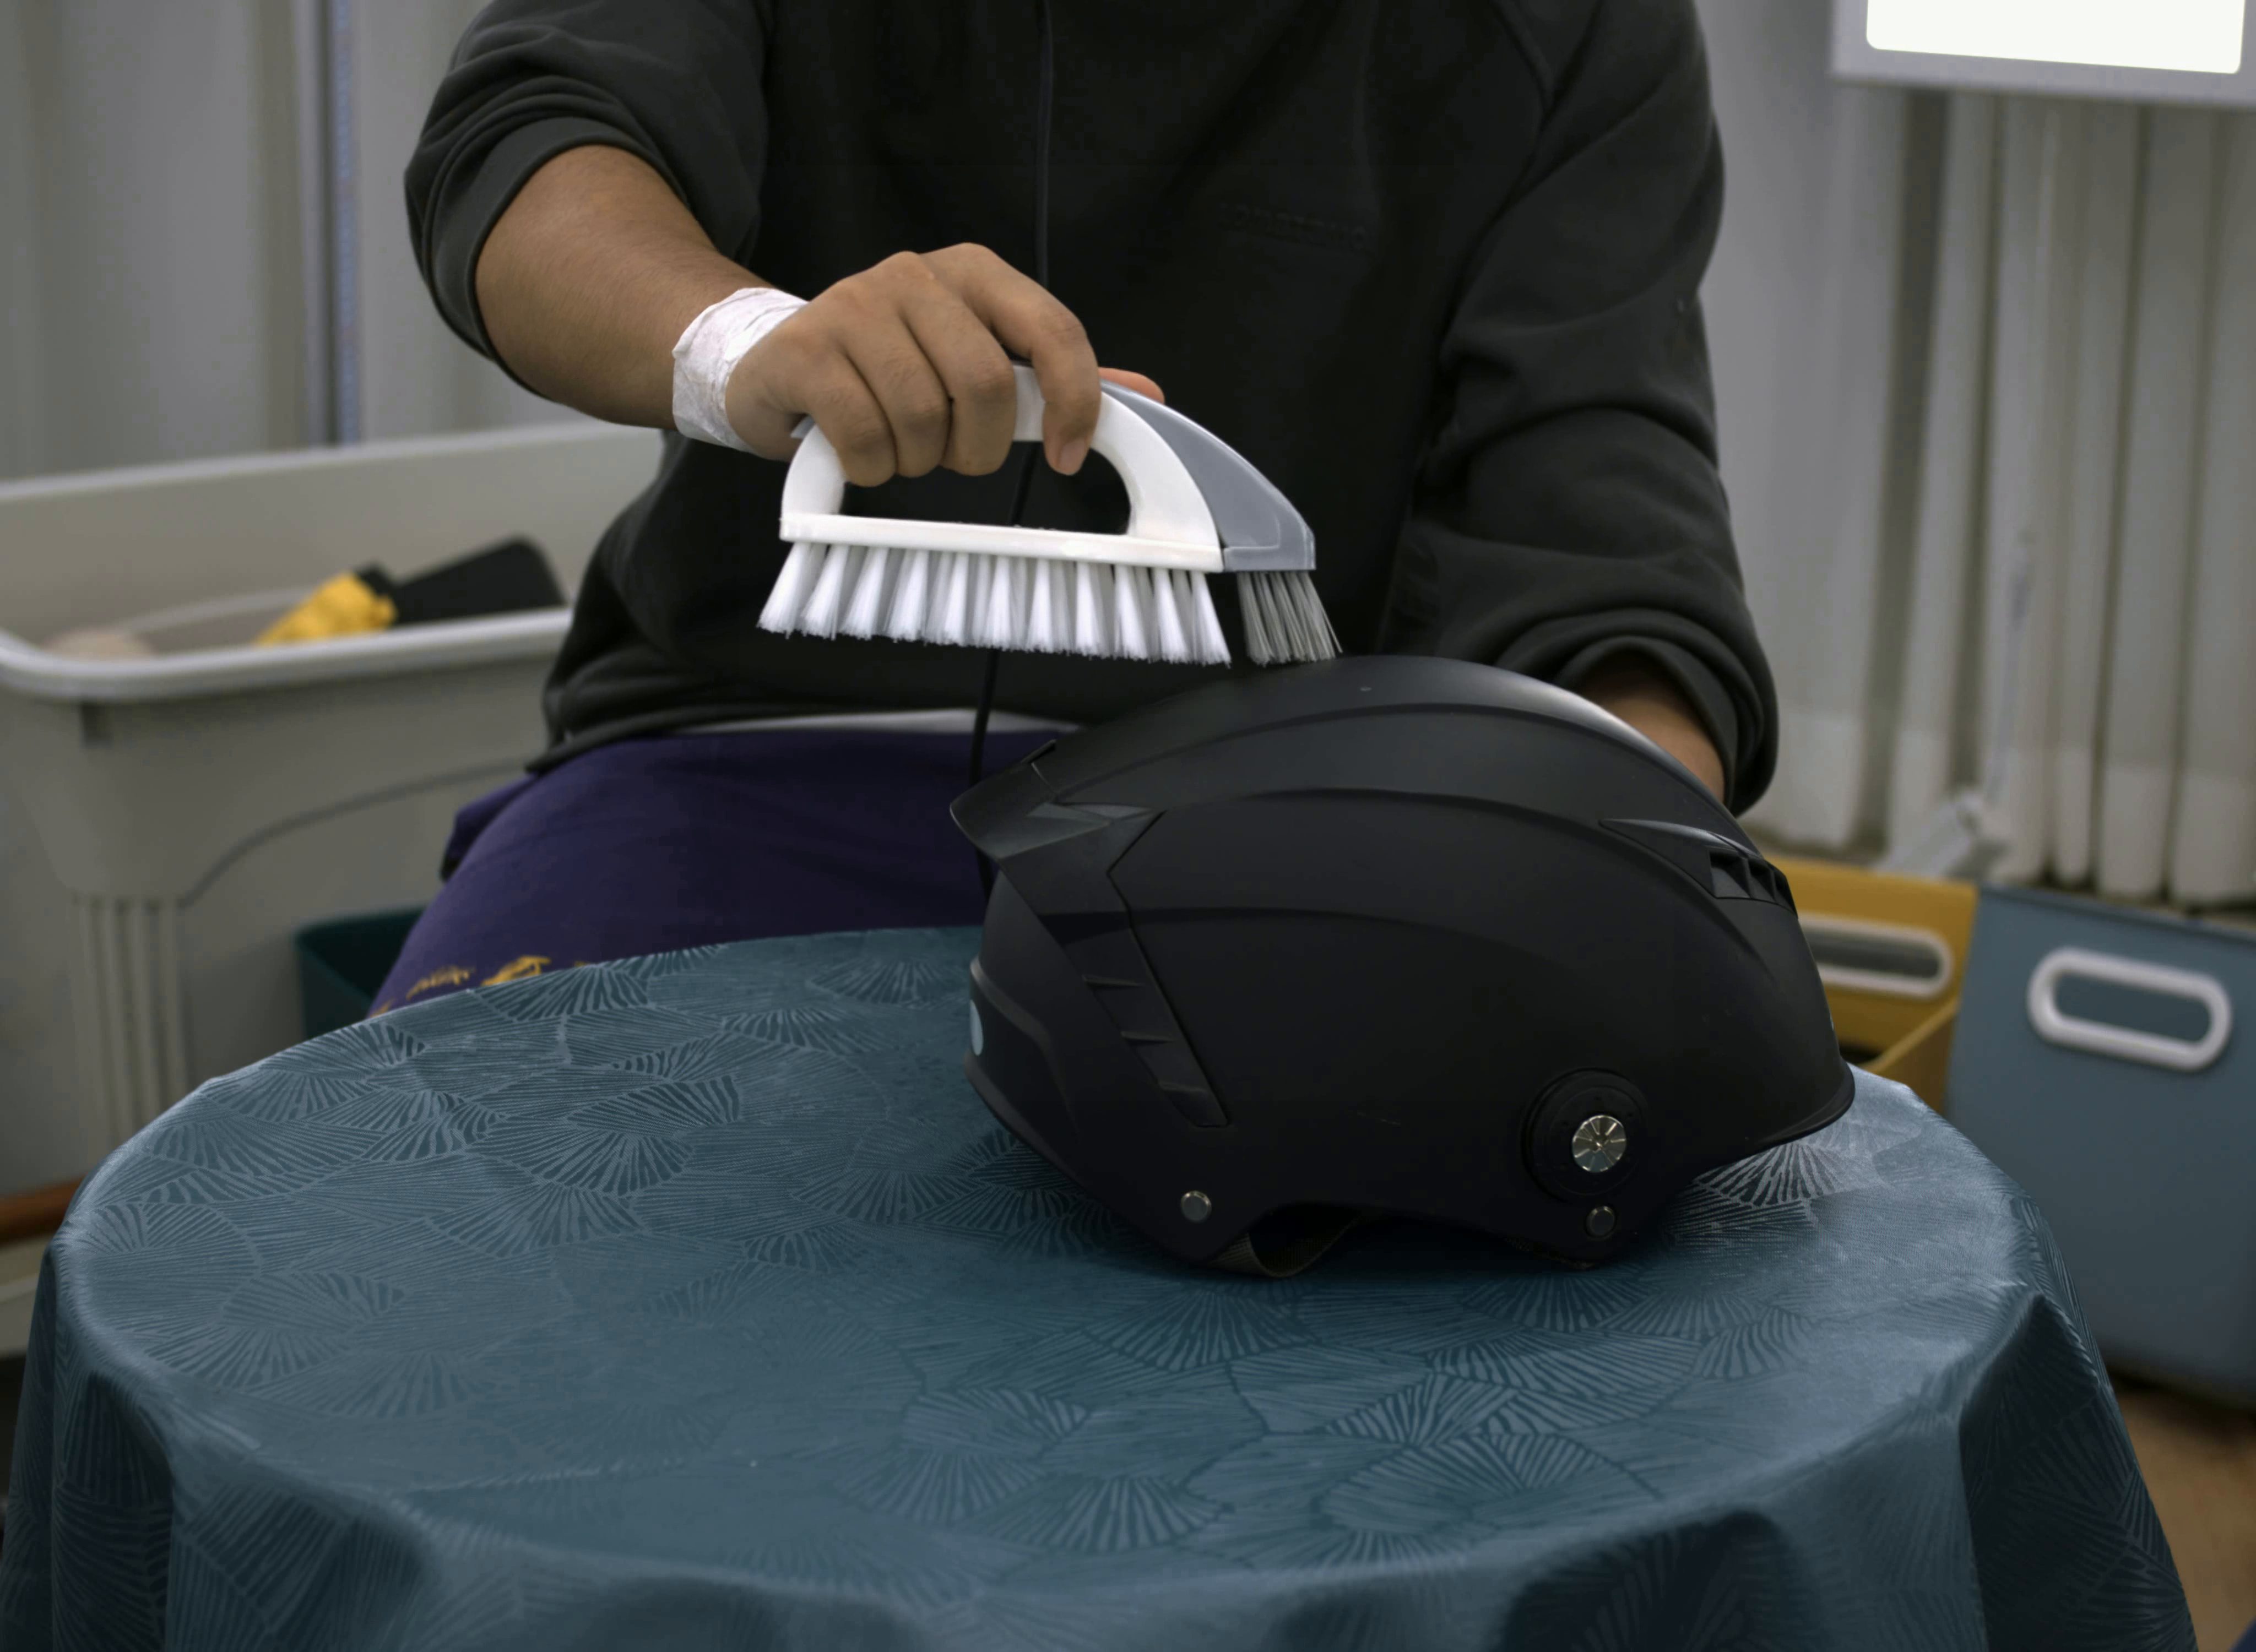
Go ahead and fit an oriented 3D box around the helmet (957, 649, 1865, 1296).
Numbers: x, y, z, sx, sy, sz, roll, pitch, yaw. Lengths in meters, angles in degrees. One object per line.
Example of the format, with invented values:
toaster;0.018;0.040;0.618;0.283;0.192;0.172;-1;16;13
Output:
helmet;0.084;0.031;1.622;0.276;0.174;0.244;-7;17;-10

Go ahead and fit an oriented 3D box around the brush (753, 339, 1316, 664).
brush;-0.025;-0.100;1.624;0.175;0.094;0.061;7;6;-1
